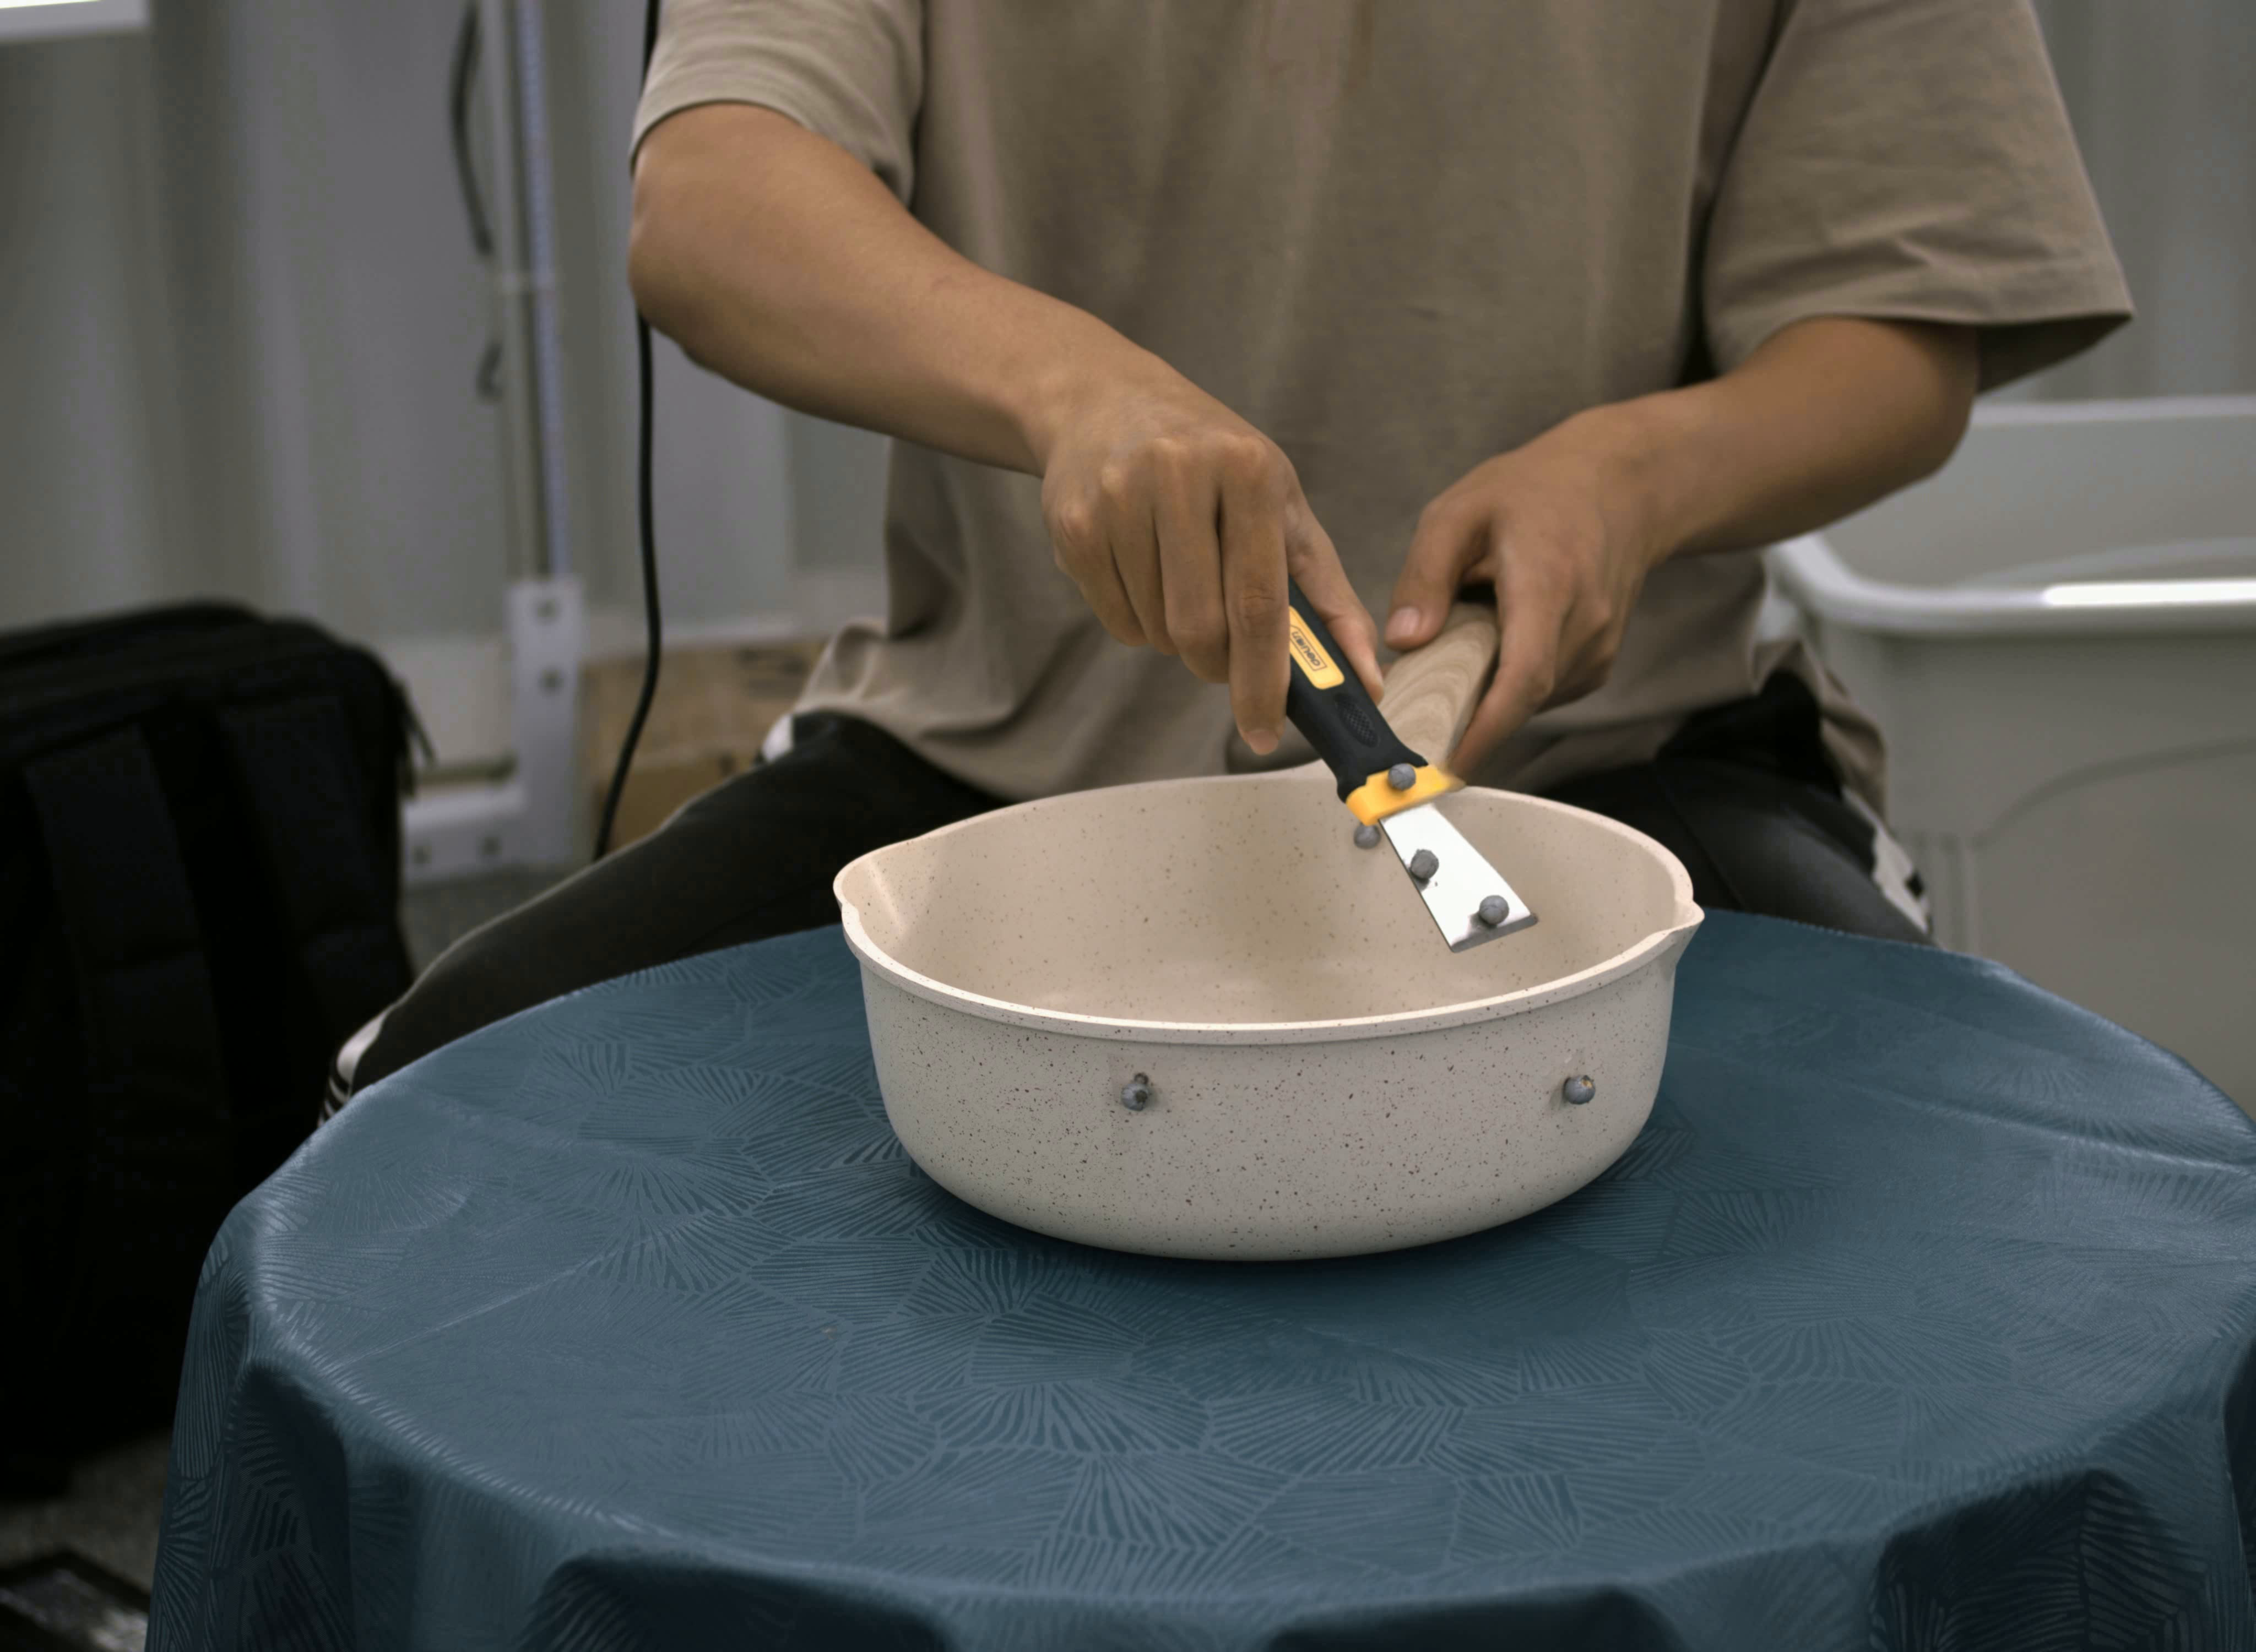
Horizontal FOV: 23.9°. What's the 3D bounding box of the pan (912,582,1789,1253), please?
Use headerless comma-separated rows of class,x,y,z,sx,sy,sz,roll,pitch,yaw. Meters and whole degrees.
pan,0.091,0.025,1.652,0.266,0.102,0.431,0,16,18

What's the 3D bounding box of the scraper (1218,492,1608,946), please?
scraper,0.082,-0.034,1.597,0.038,0.015,0.173,-24,65,-28
